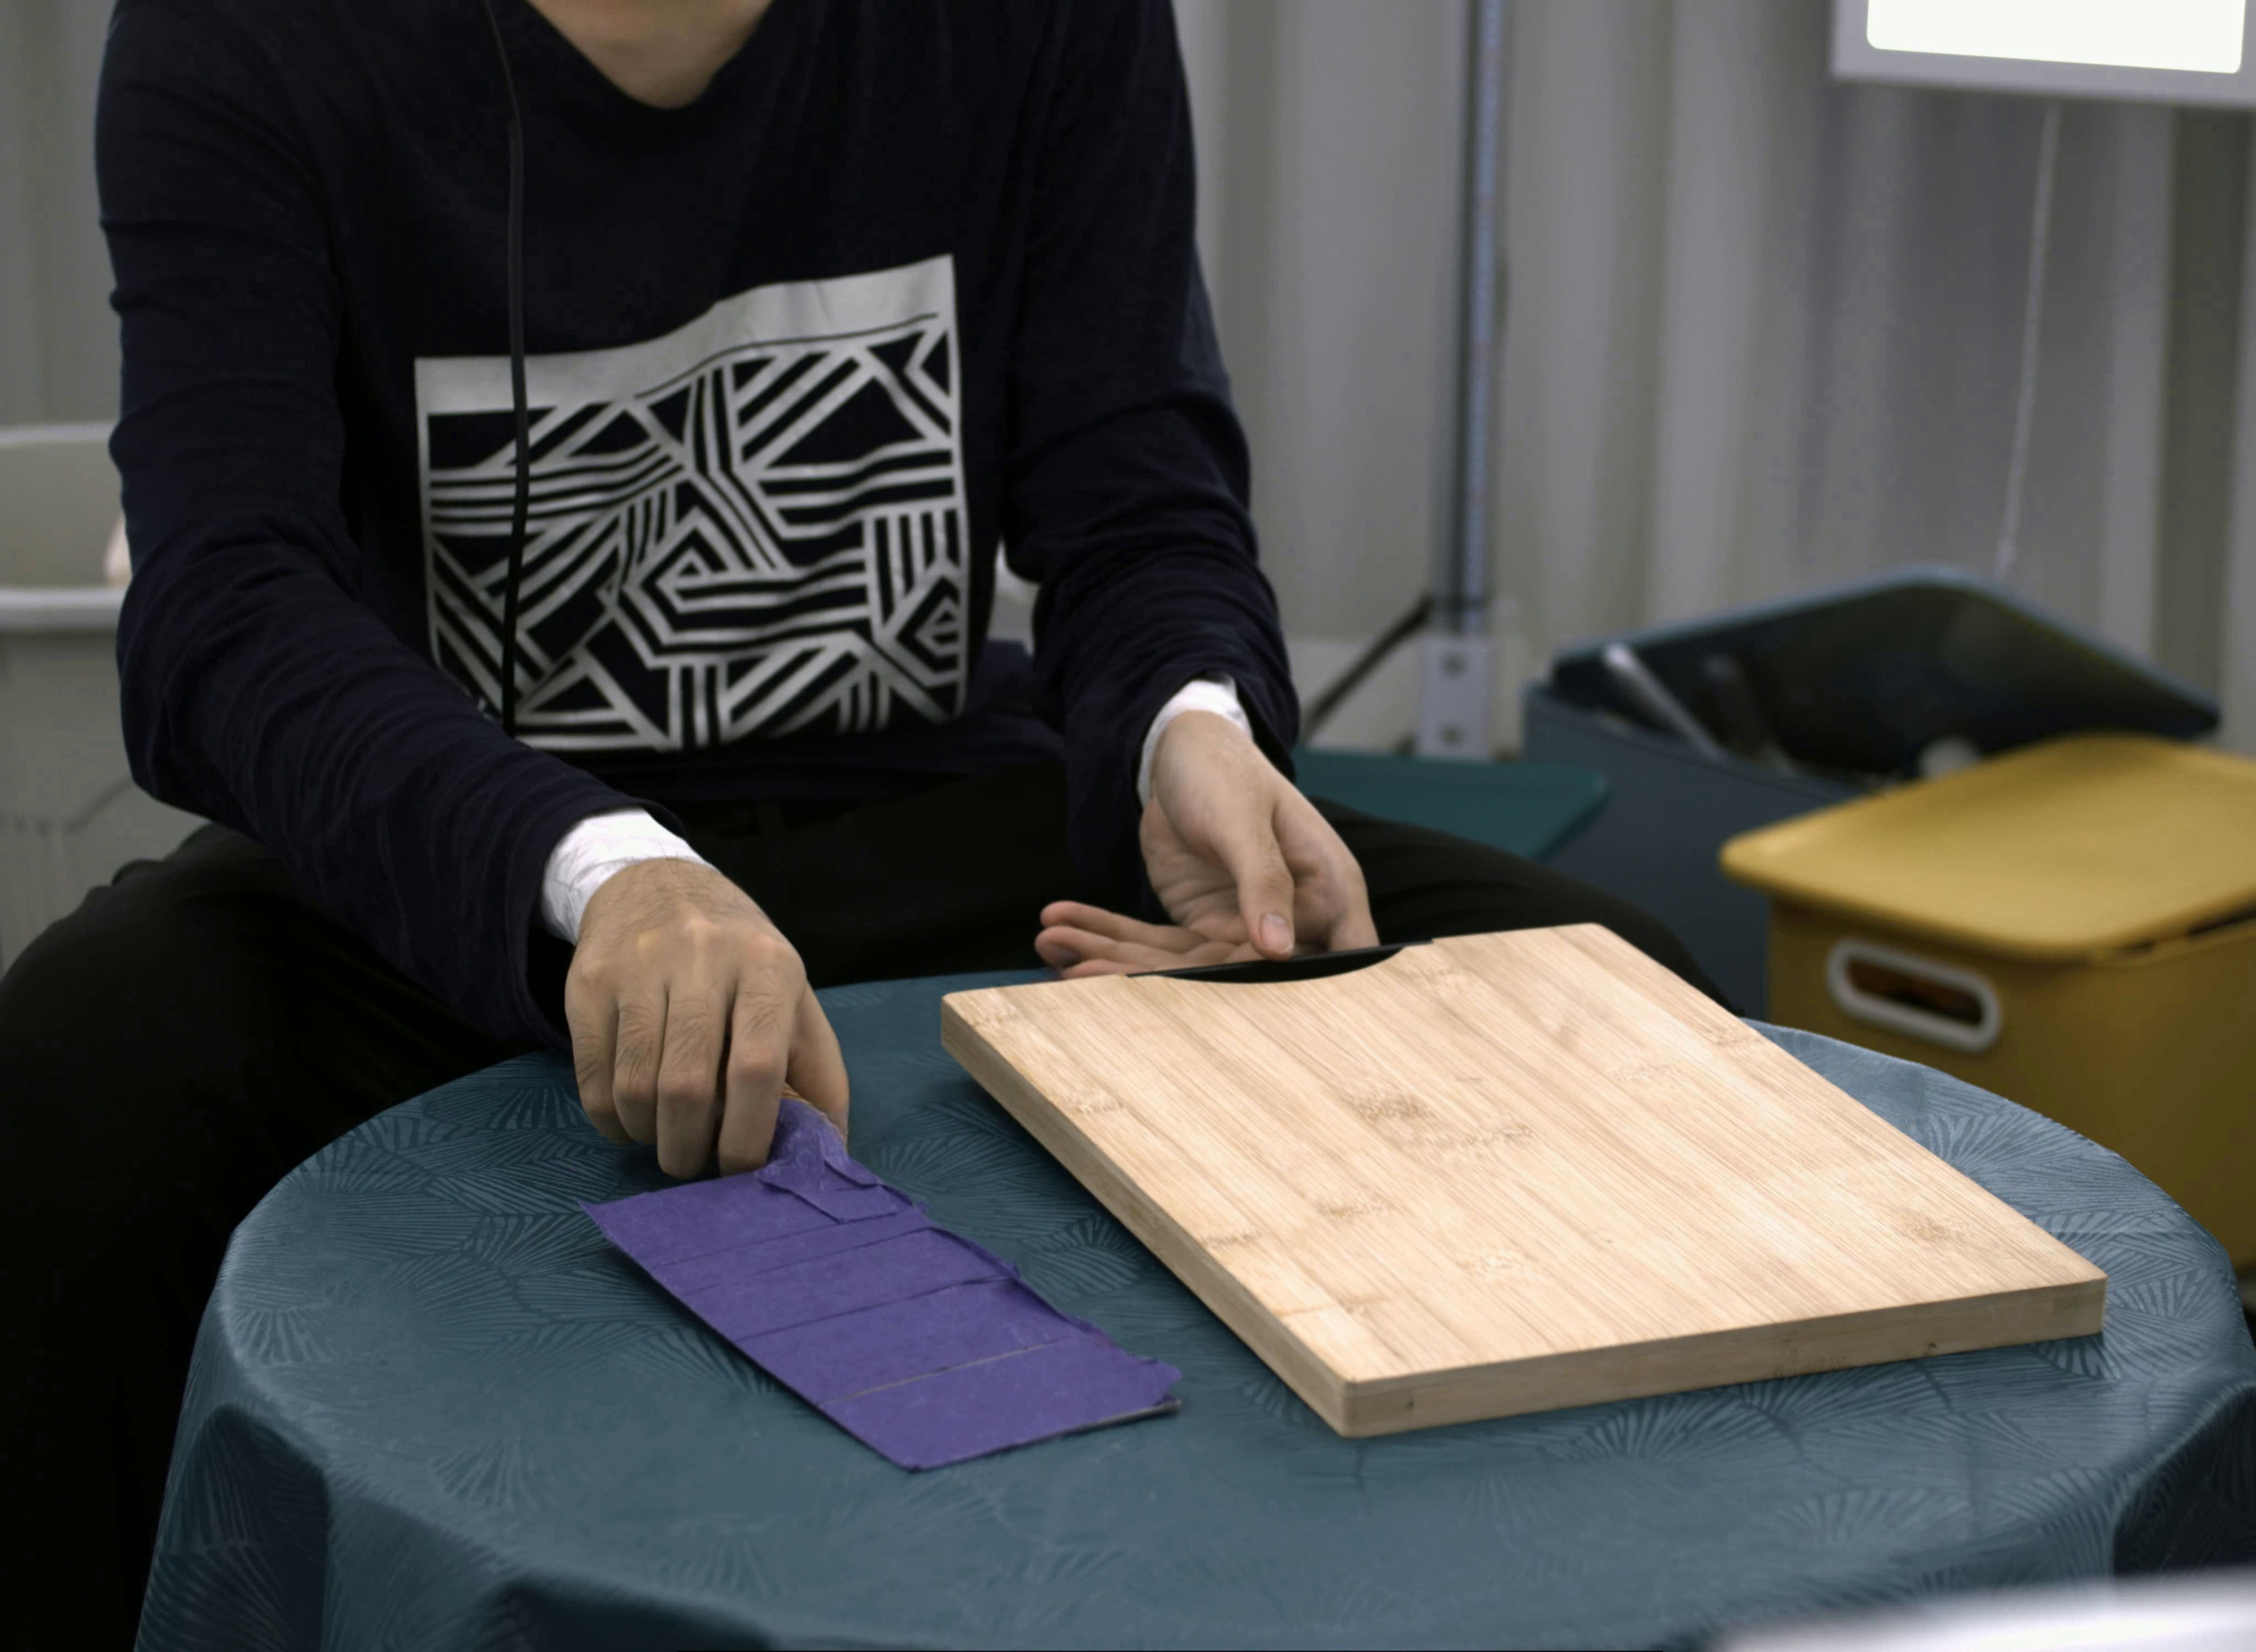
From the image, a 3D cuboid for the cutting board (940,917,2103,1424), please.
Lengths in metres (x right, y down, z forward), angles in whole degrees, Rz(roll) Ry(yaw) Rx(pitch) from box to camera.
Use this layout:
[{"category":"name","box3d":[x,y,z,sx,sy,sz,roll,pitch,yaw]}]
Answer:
[{"category":"cutting board","box3d":[0.109,0.099,1.622,0.251,0.024,0.344,-5,18,-21]}]

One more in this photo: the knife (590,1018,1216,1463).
[{"category":"knife","box3d":[-0.098,0.118,1.546,0.104,0.032,0.311,-9,19,-31]}]
